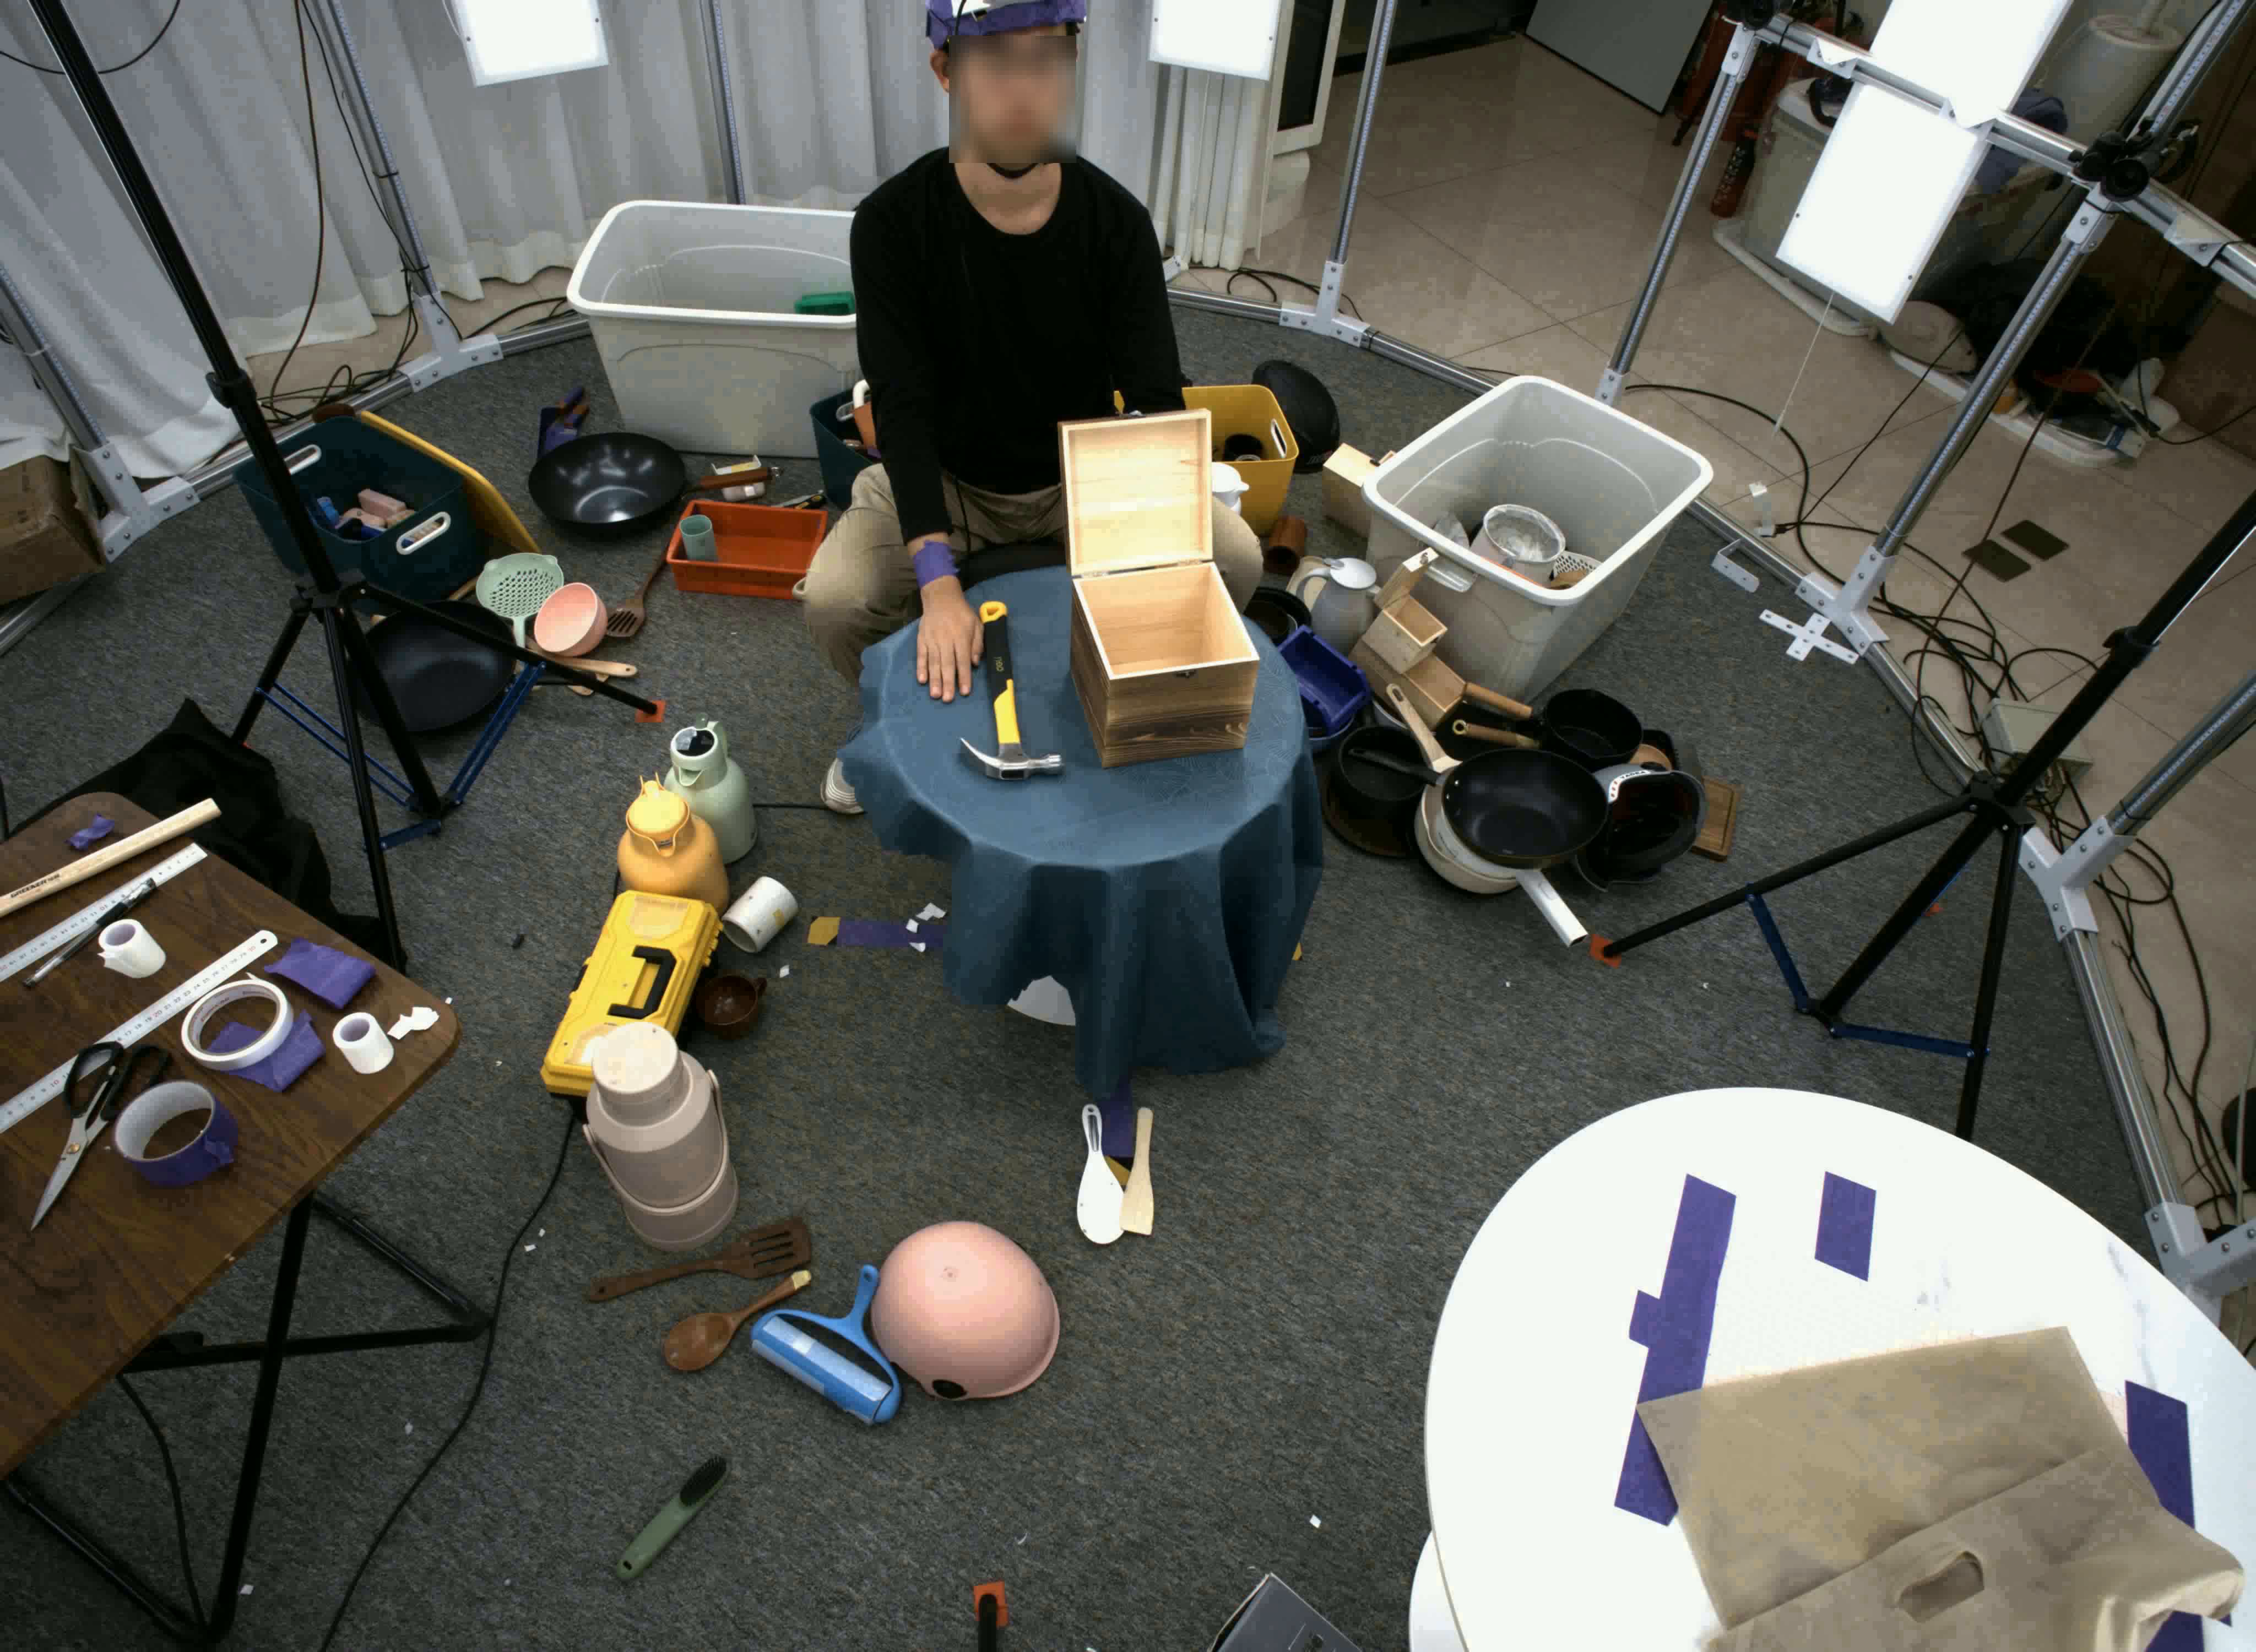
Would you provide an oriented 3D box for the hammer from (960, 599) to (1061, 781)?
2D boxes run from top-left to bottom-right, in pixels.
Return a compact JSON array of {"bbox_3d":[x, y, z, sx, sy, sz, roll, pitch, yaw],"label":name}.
[{"bbox_3d":[-0.175,-0.200,1.809,0.131,0.031,0.347,-4,50,-7],"label":"hammer"}]

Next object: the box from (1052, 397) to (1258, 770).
[{"bbox_3d":[0.032,-0.320,1.716,0.208,0.366,0.330,-10,51,-11],"label":"box"}]
